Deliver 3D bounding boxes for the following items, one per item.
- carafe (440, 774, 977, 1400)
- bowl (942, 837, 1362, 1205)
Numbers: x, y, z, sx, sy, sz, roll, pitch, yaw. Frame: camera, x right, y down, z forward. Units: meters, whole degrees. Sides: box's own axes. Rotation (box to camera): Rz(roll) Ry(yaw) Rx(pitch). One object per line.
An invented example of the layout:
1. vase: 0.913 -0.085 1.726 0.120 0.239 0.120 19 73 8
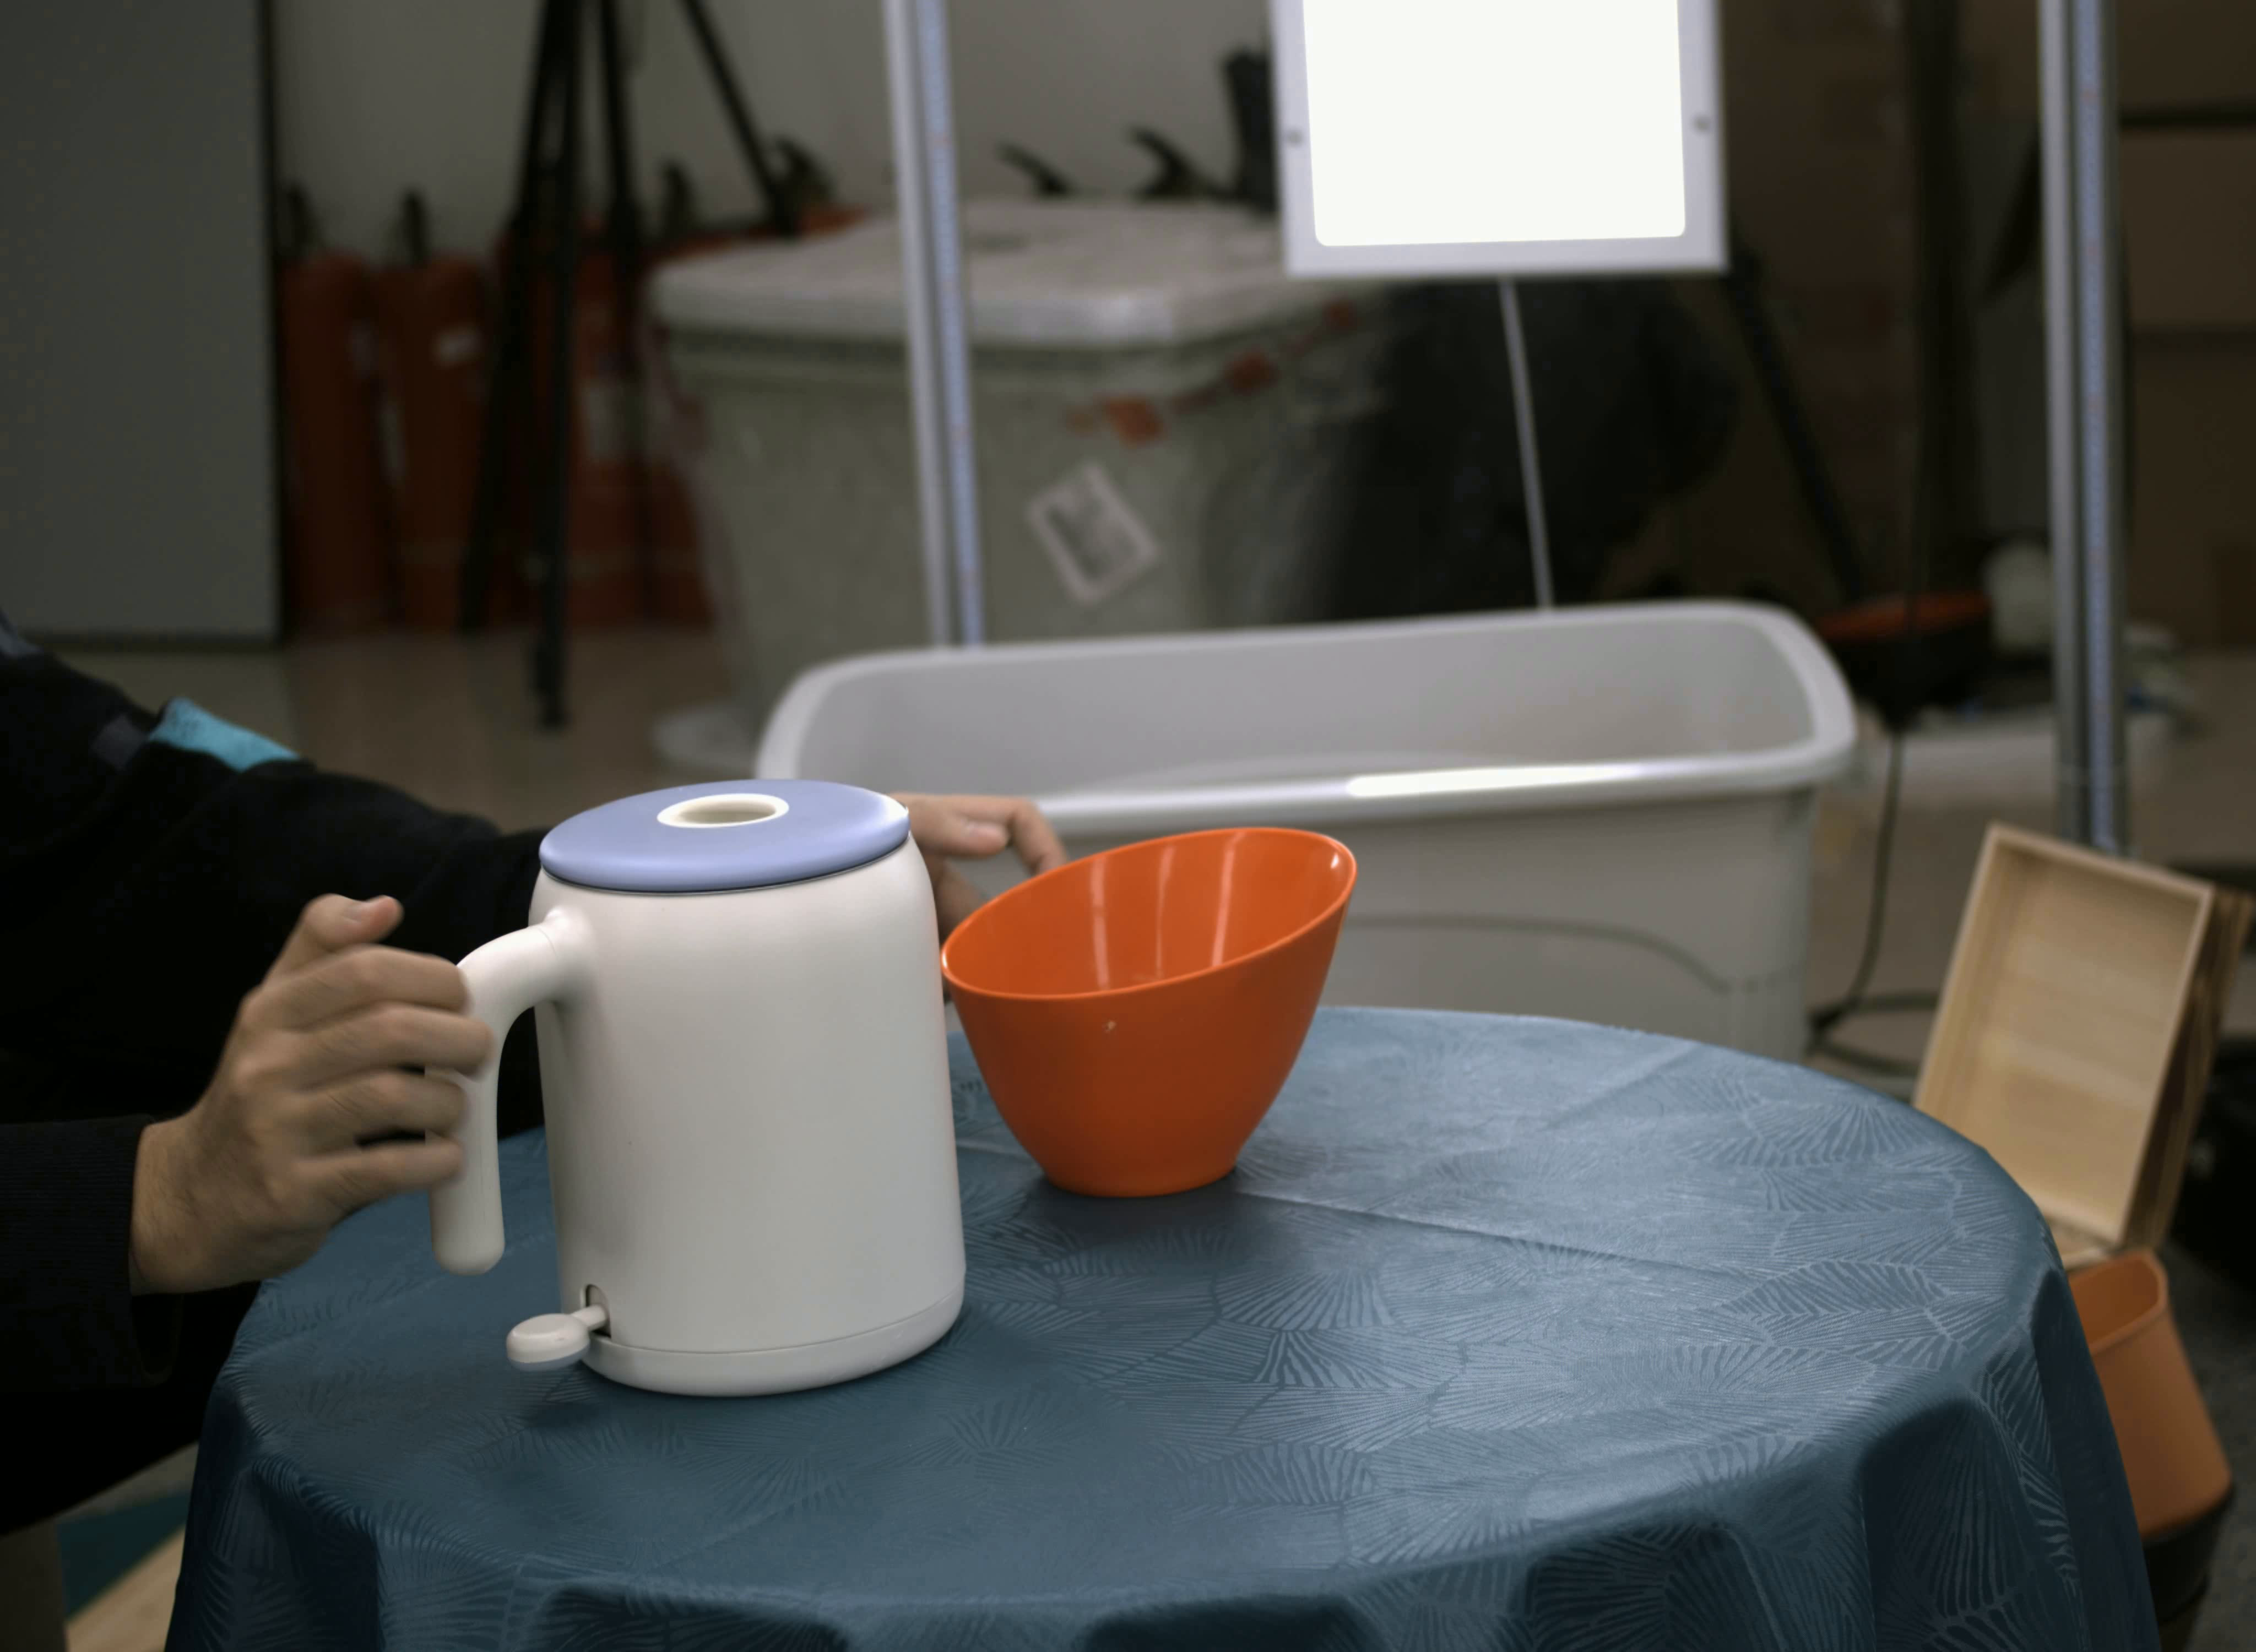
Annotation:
1. carafe: -0.139 0.088 1.746 0.186 0.183 0.135 -19 18 -37
2. bowl: 0.011 0.070 1.908 0.147 0.105 0.148 -4 14 0
